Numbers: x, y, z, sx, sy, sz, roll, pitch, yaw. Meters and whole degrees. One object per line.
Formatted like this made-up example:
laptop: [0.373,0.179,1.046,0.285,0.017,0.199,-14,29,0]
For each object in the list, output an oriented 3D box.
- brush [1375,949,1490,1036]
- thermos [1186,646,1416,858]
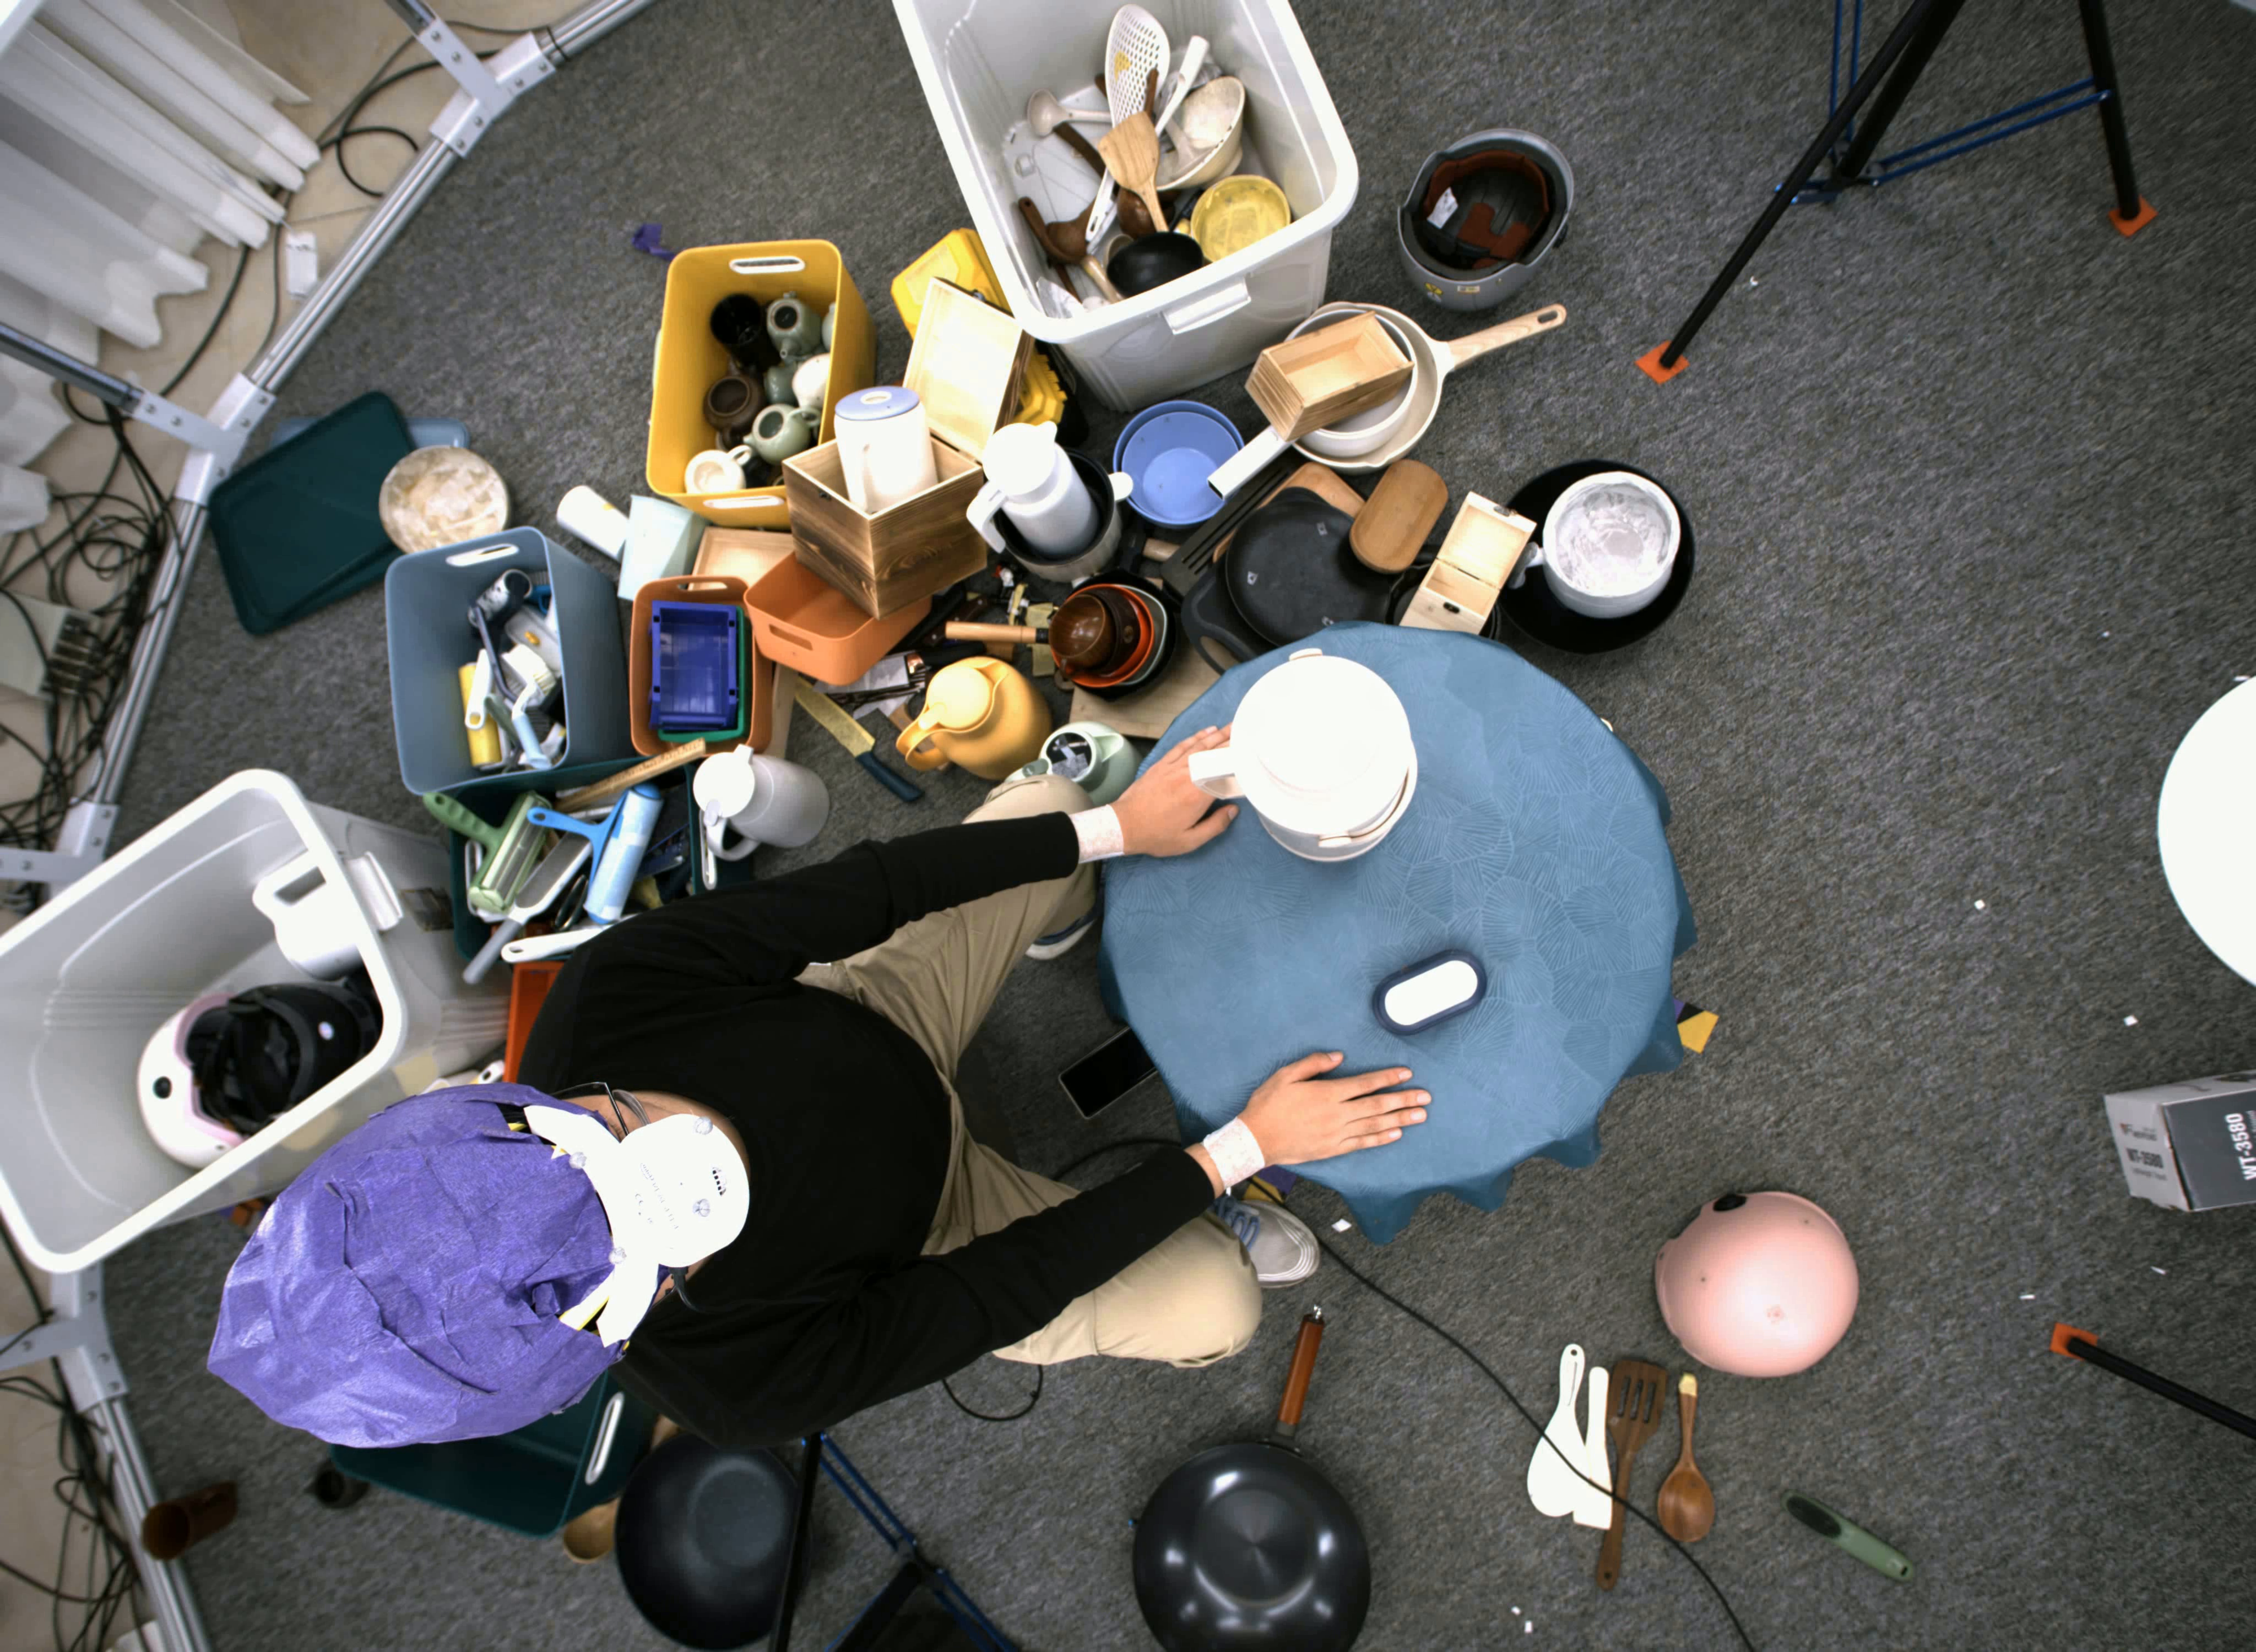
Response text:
brush: [0.313,0.169,1.419,0.122,0.061,0.067,-24,79,7]
thermos: [0.166,-0.063,1.286,0.208,0.406,0.174,-10,84,9]
